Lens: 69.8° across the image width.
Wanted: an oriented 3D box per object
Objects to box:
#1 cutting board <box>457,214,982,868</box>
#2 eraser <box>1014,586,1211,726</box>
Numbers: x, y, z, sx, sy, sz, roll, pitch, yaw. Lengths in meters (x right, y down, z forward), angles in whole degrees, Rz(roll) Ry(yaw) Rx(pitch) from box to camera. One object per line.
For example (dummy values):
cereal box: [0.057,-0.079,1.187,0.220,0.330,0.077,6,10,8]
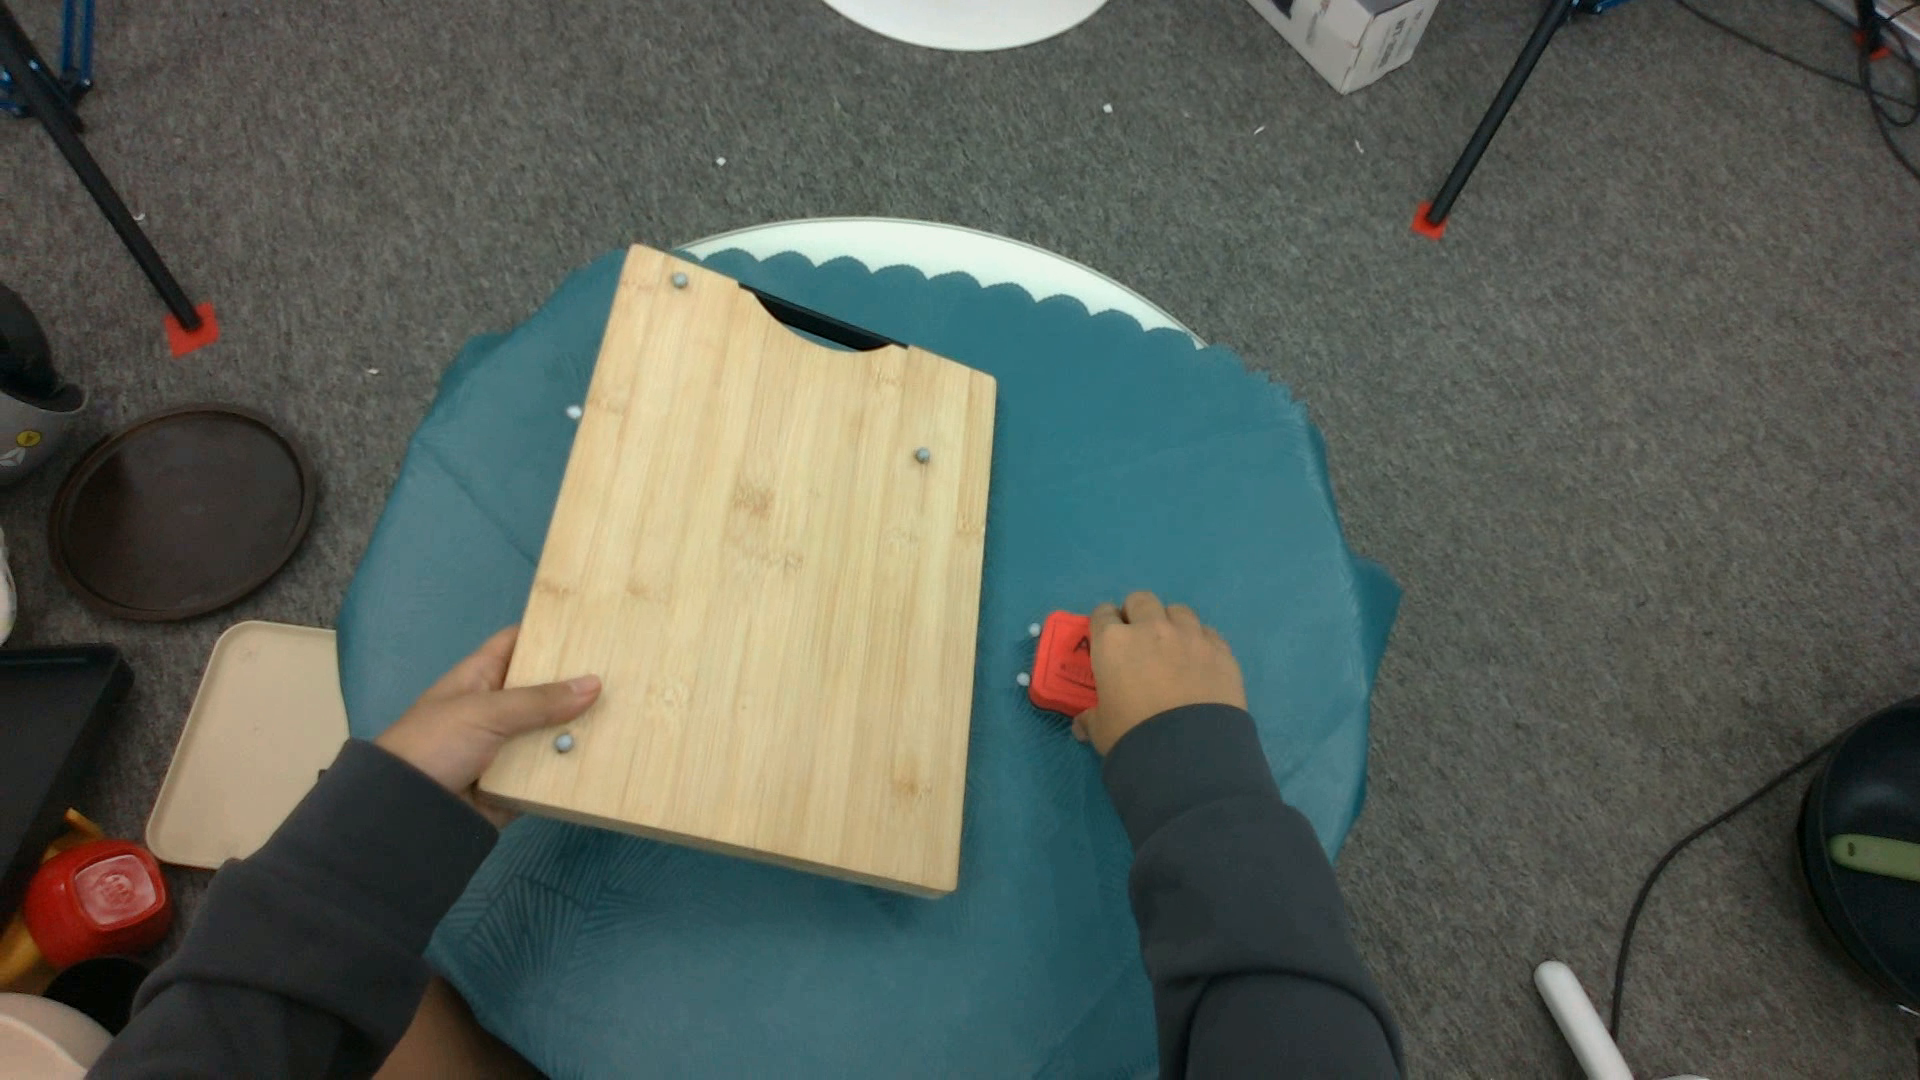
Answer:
cutting board: [-0.109,-0.010,0.759,0.251,0.023,0.350,17,56,-21]
eraser: [0.088,0.067,0.797,0.108,0.023,0.059,15,61,-1]
